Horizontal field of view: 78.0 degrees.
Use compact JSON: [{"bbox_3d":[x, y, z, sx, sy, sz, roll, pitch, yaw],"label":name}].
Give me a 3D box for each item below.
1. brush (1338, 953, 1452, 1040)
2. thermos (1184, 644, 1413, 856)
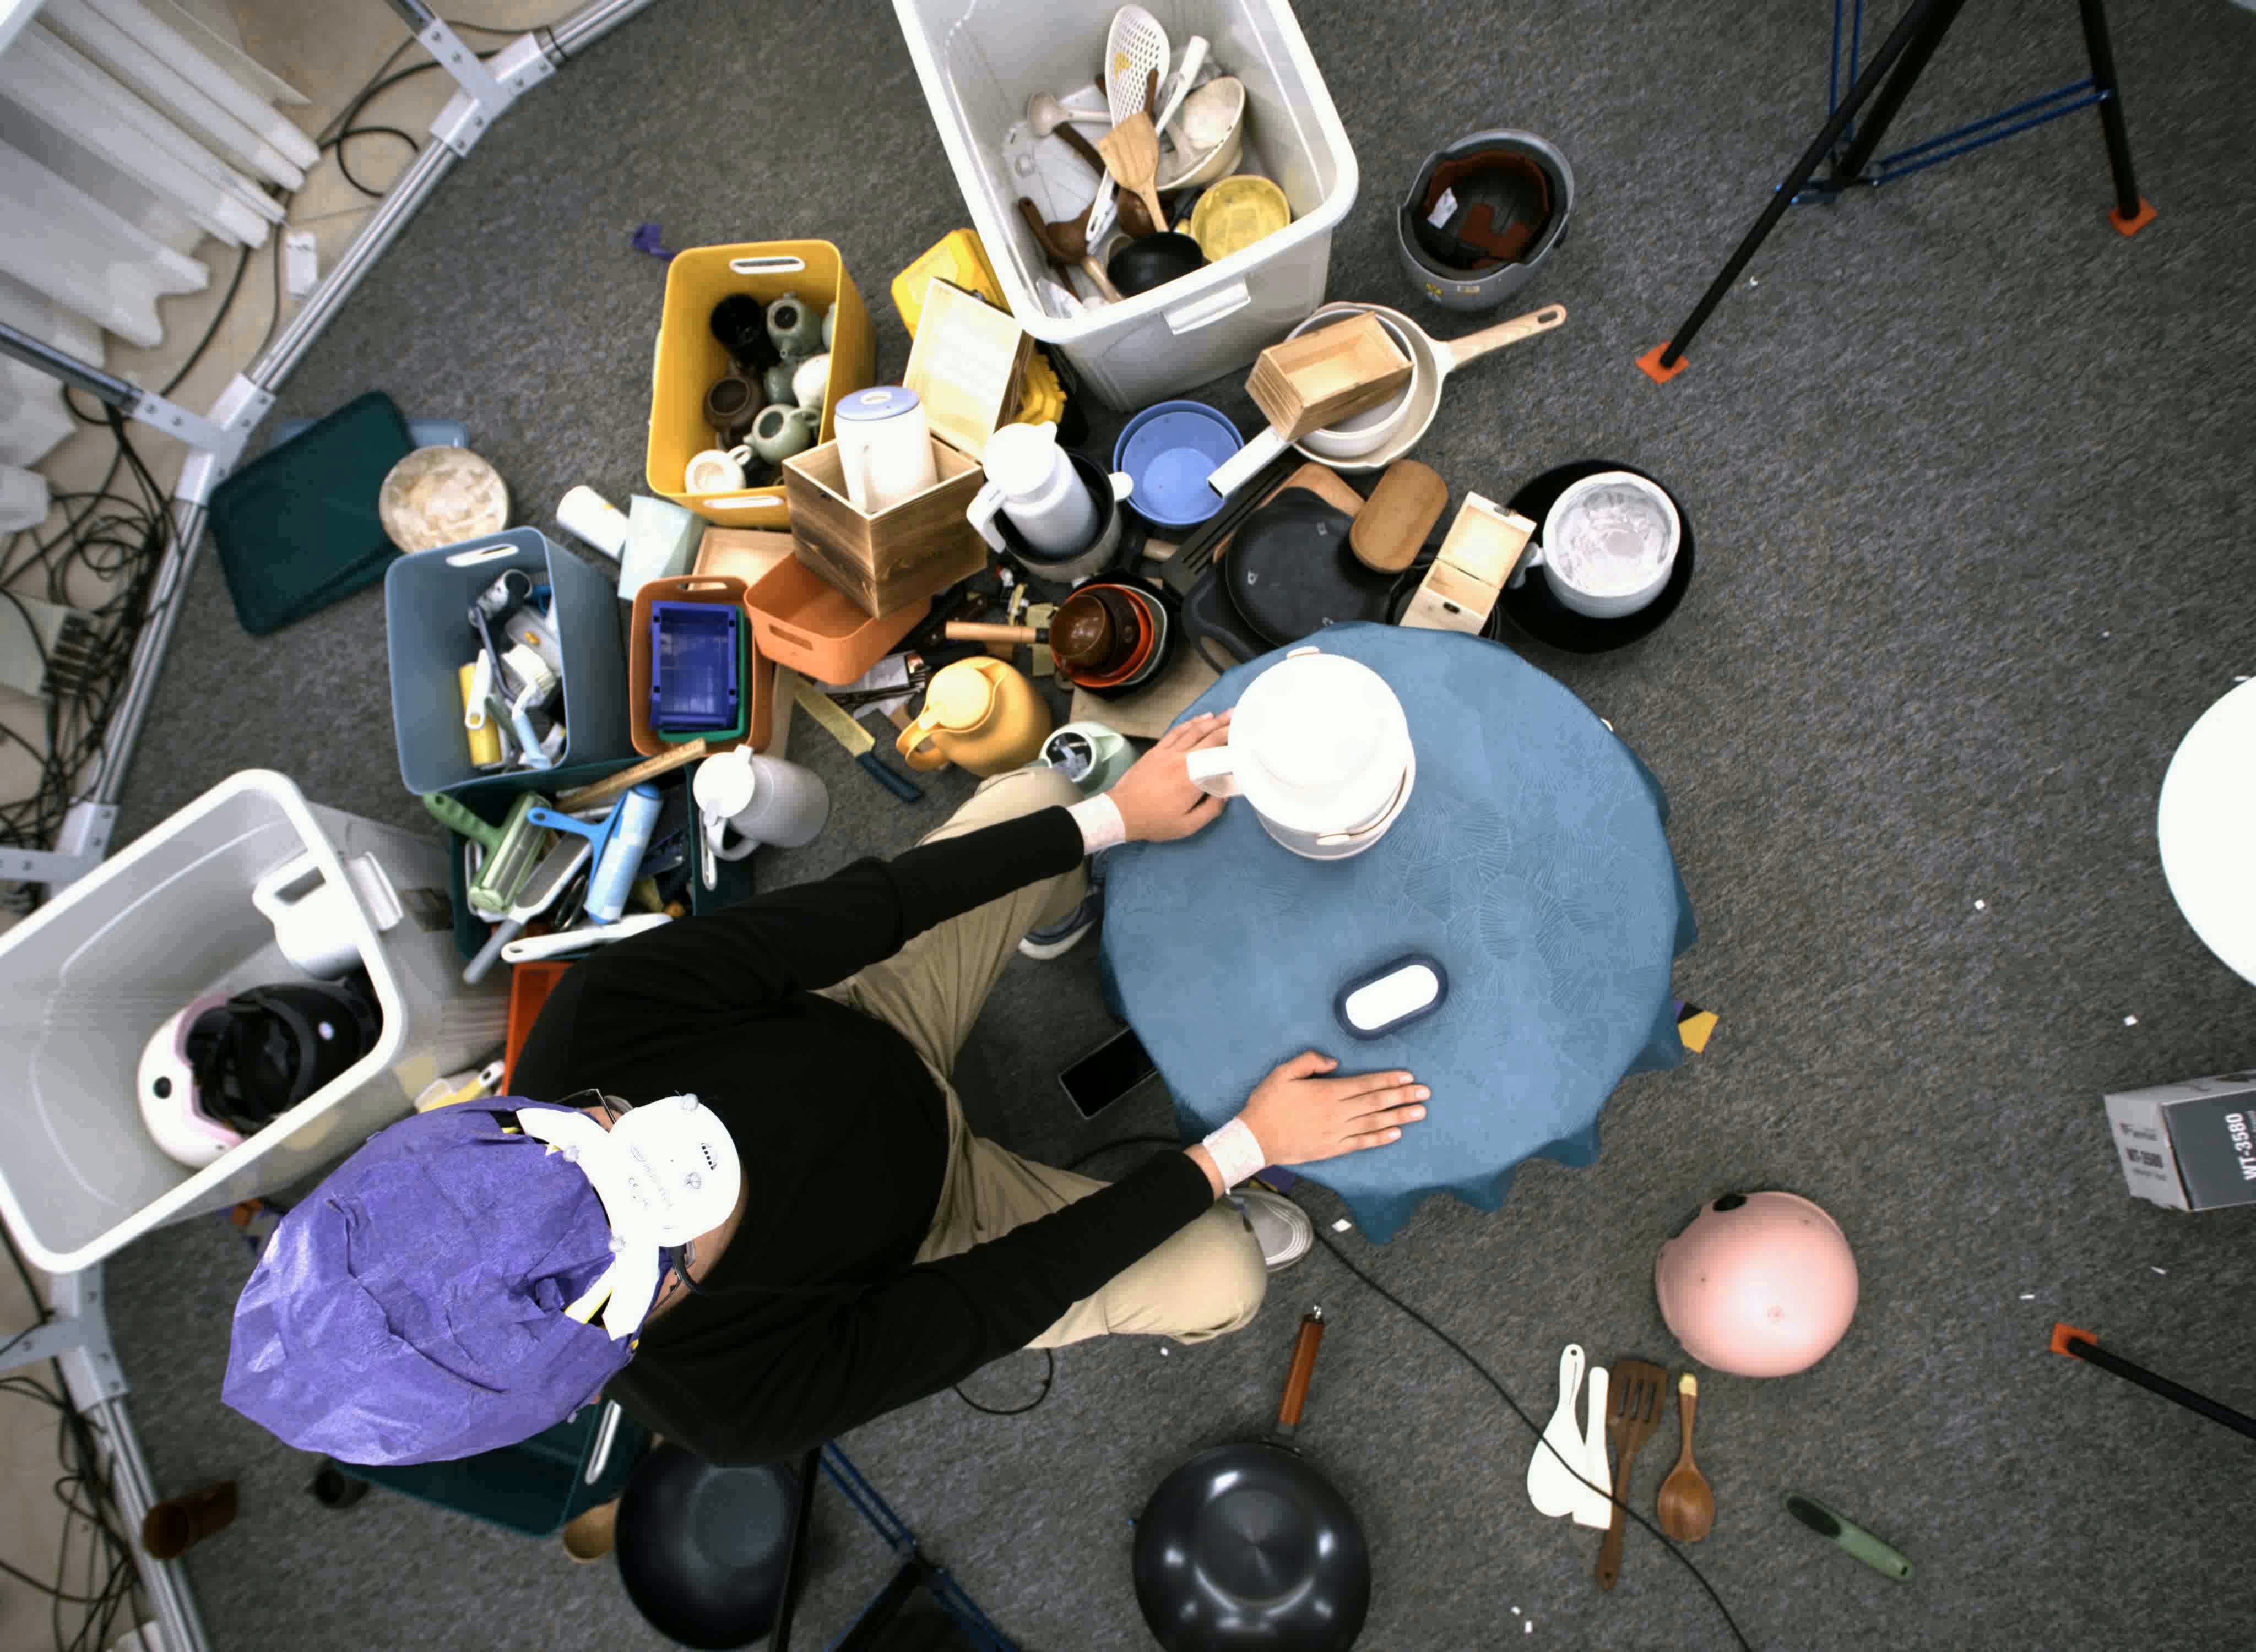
[{"bbox_3d":[0.275,0.175,1.425,0.122,0.061,0.067,-24,79,7],"label":"brush"},{"bbox_3d":[0.164,-0.065,1.286,0.208,0.406,0.174,-10,84,8],"label":"thermos"}]
